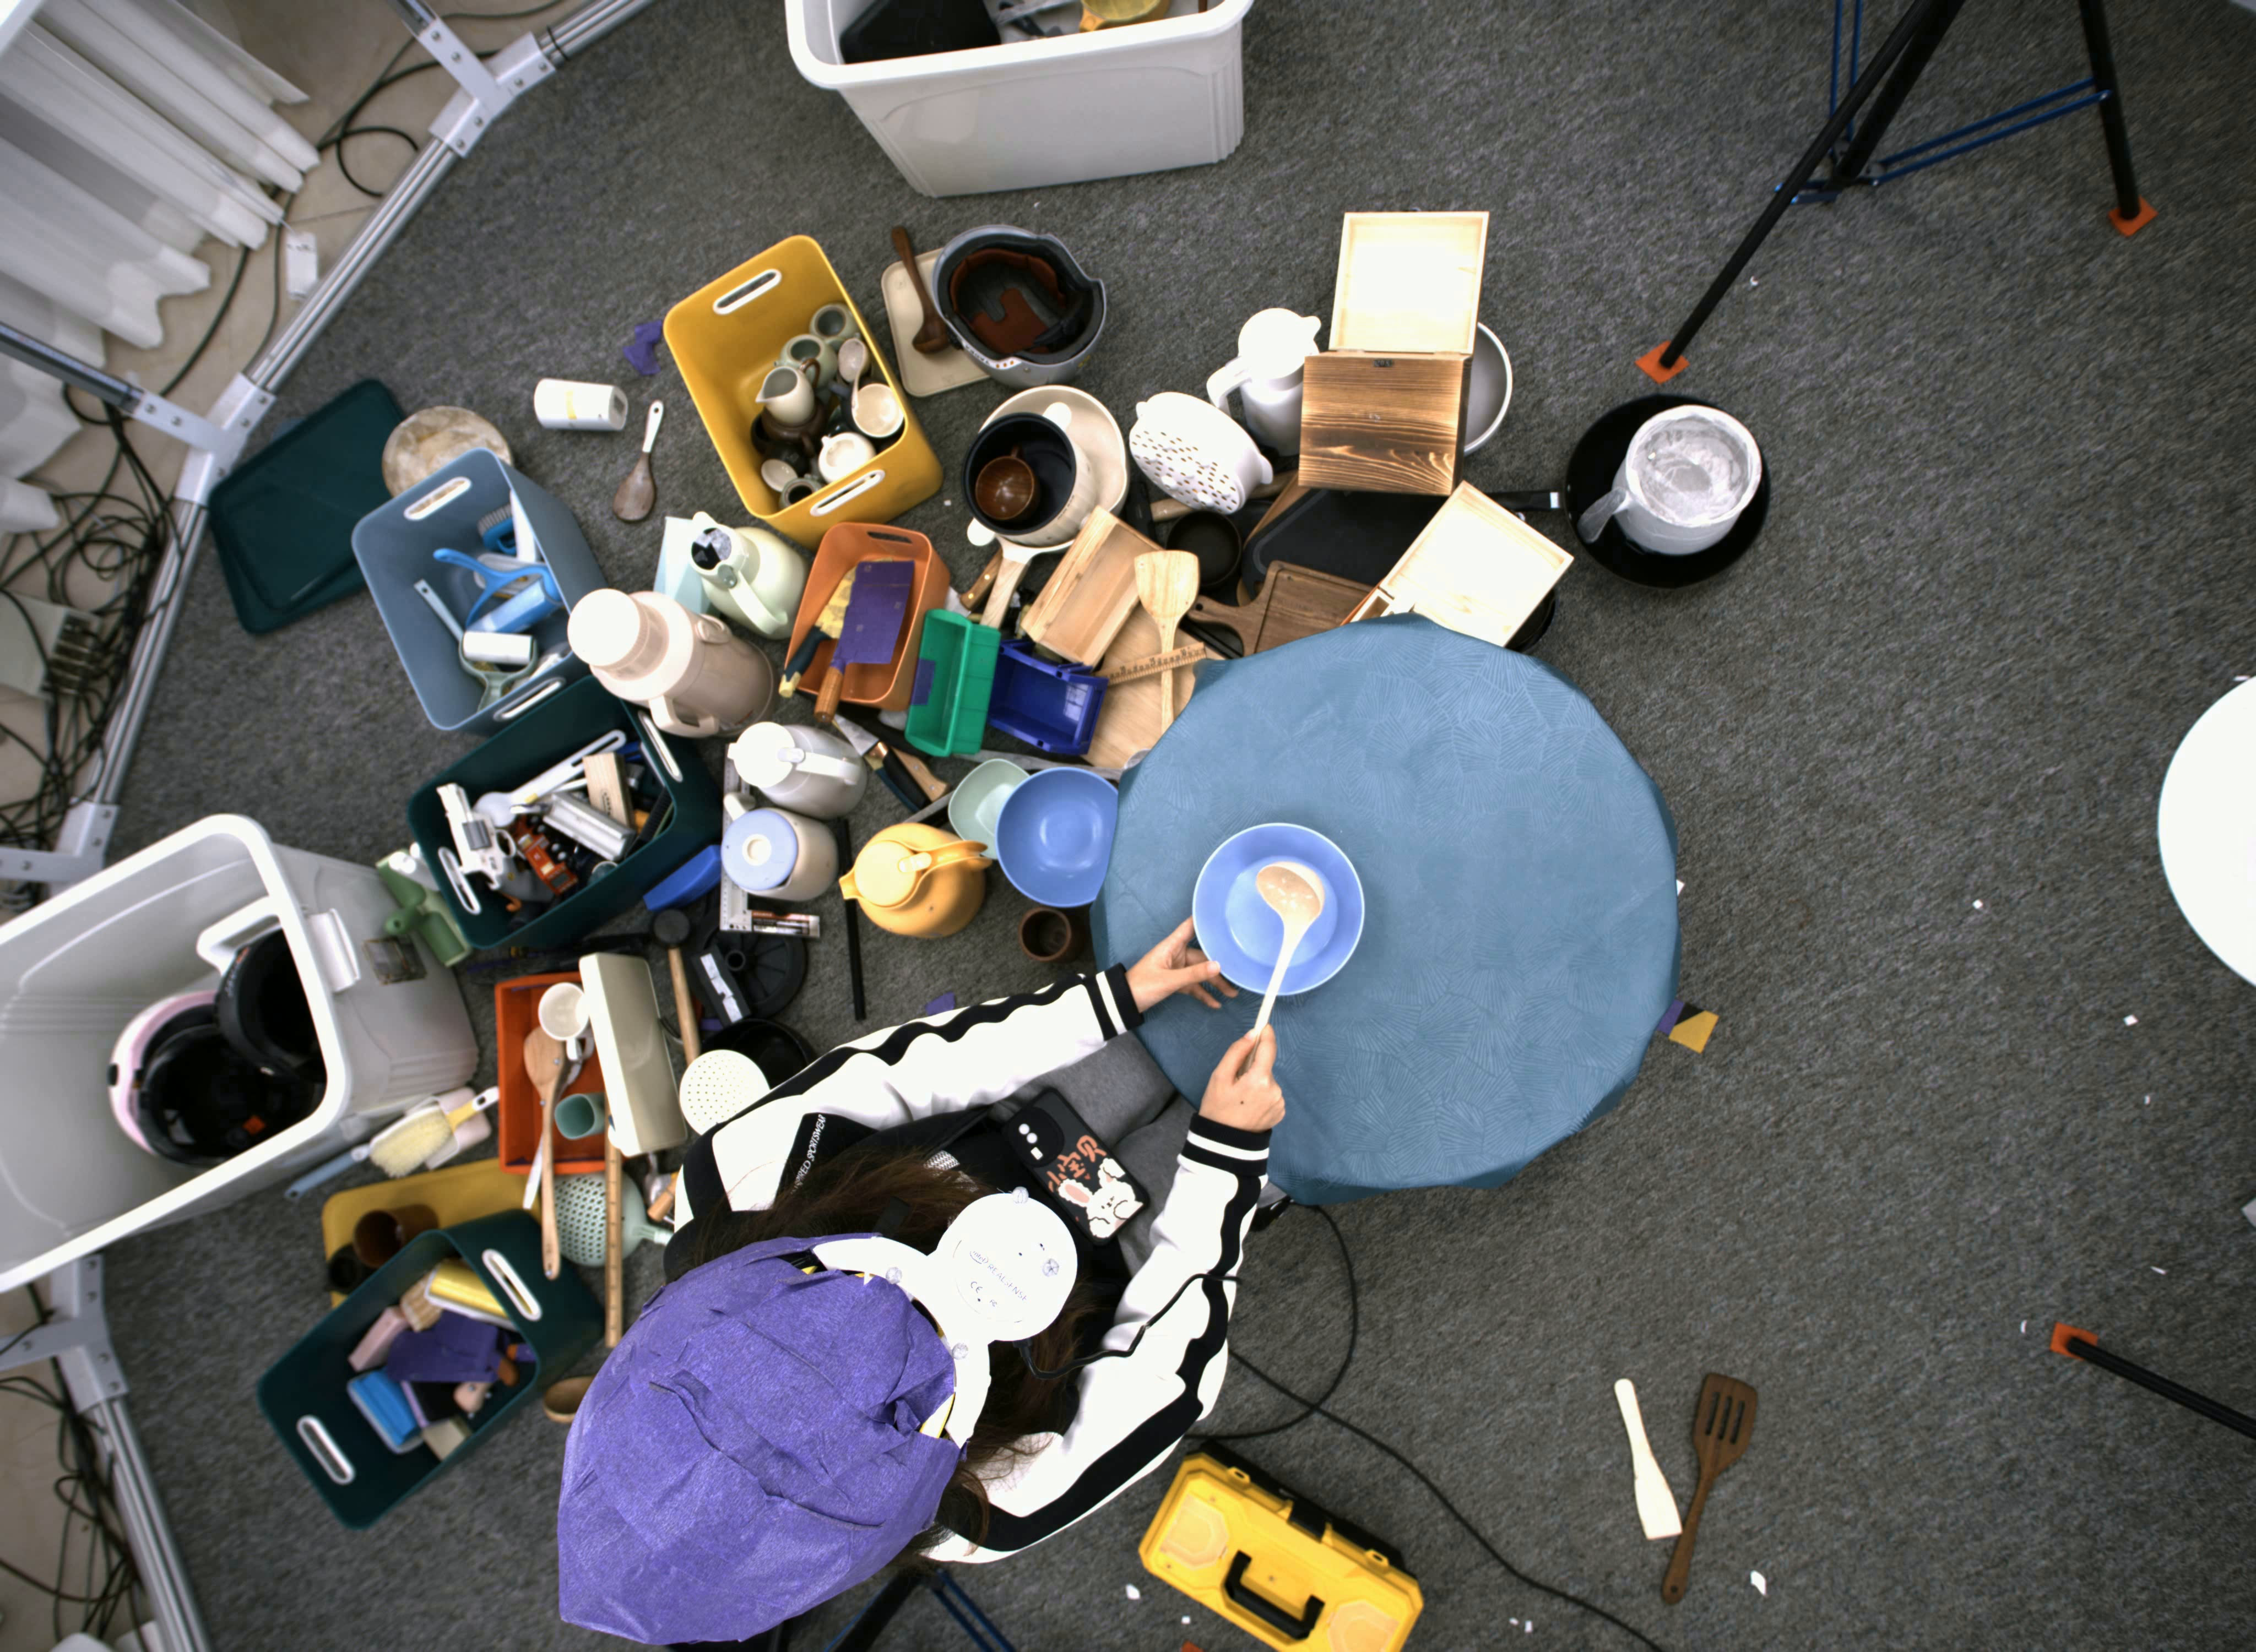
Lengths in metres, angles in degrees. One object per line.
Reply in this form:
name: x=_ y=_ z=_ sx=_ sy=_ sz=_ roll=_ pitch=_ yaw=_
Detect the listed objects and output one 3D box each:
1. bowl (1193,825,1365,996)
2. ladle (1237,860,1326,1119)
bowl: x=0.159 y=0.089 z=1.445 sx=0.177 sy=0.070 sz=0.175 roll=-1 pitch=86 yaw=11
ladle: x=0.132 y=0.155 z=1.362 sx=0.072 sy=0.073 sz=0.251 roll=8 pitch=73 yaw=37
